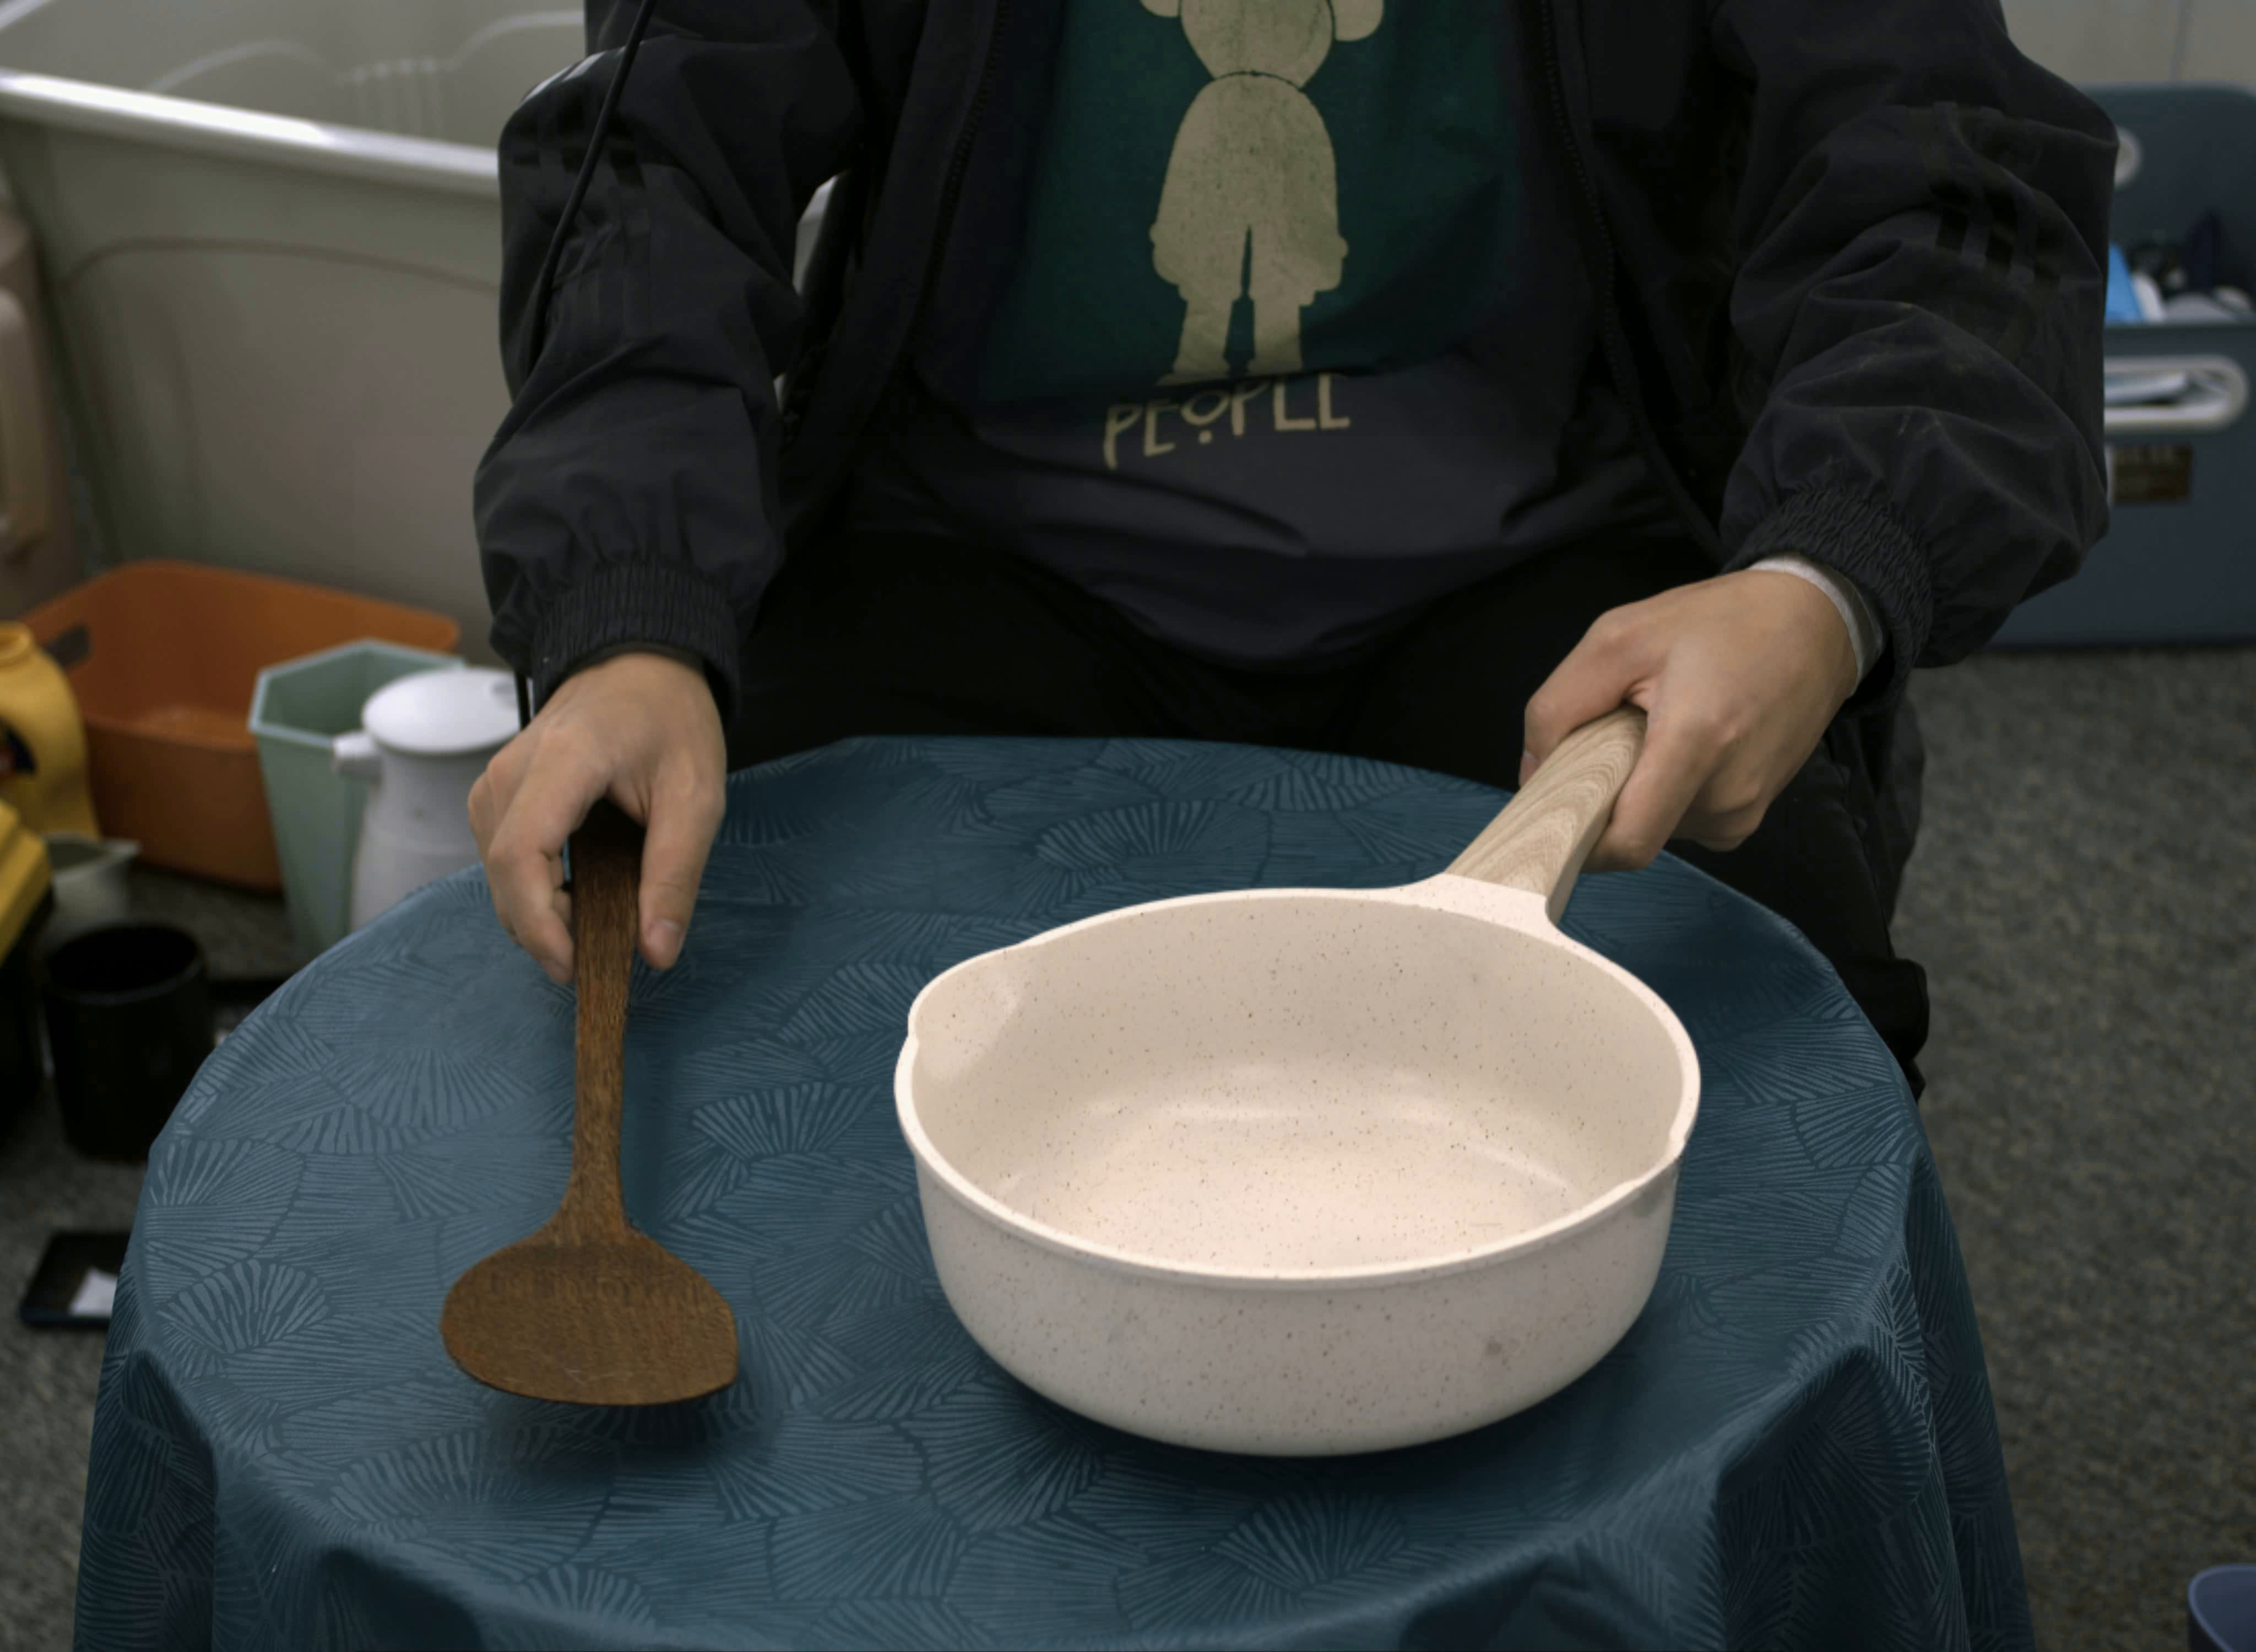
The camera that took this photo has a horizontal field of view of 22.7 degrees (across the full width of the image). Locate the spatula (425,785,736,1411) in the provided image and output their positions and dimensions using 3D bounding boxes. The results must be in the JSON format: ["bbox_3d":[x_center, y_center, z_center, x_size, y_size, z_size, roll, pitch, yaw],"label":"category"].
[{"bbox_3d":[-0.178,0.081,1.873,0.096,0.015,0.392,4,29,-6],"label":"spatula"}]

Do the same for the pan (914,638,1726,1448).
[{"bbox_3d":[0.103,0.066,1.831,0.262,0.101,0.442,10,28,26],"label":"pan"}]
